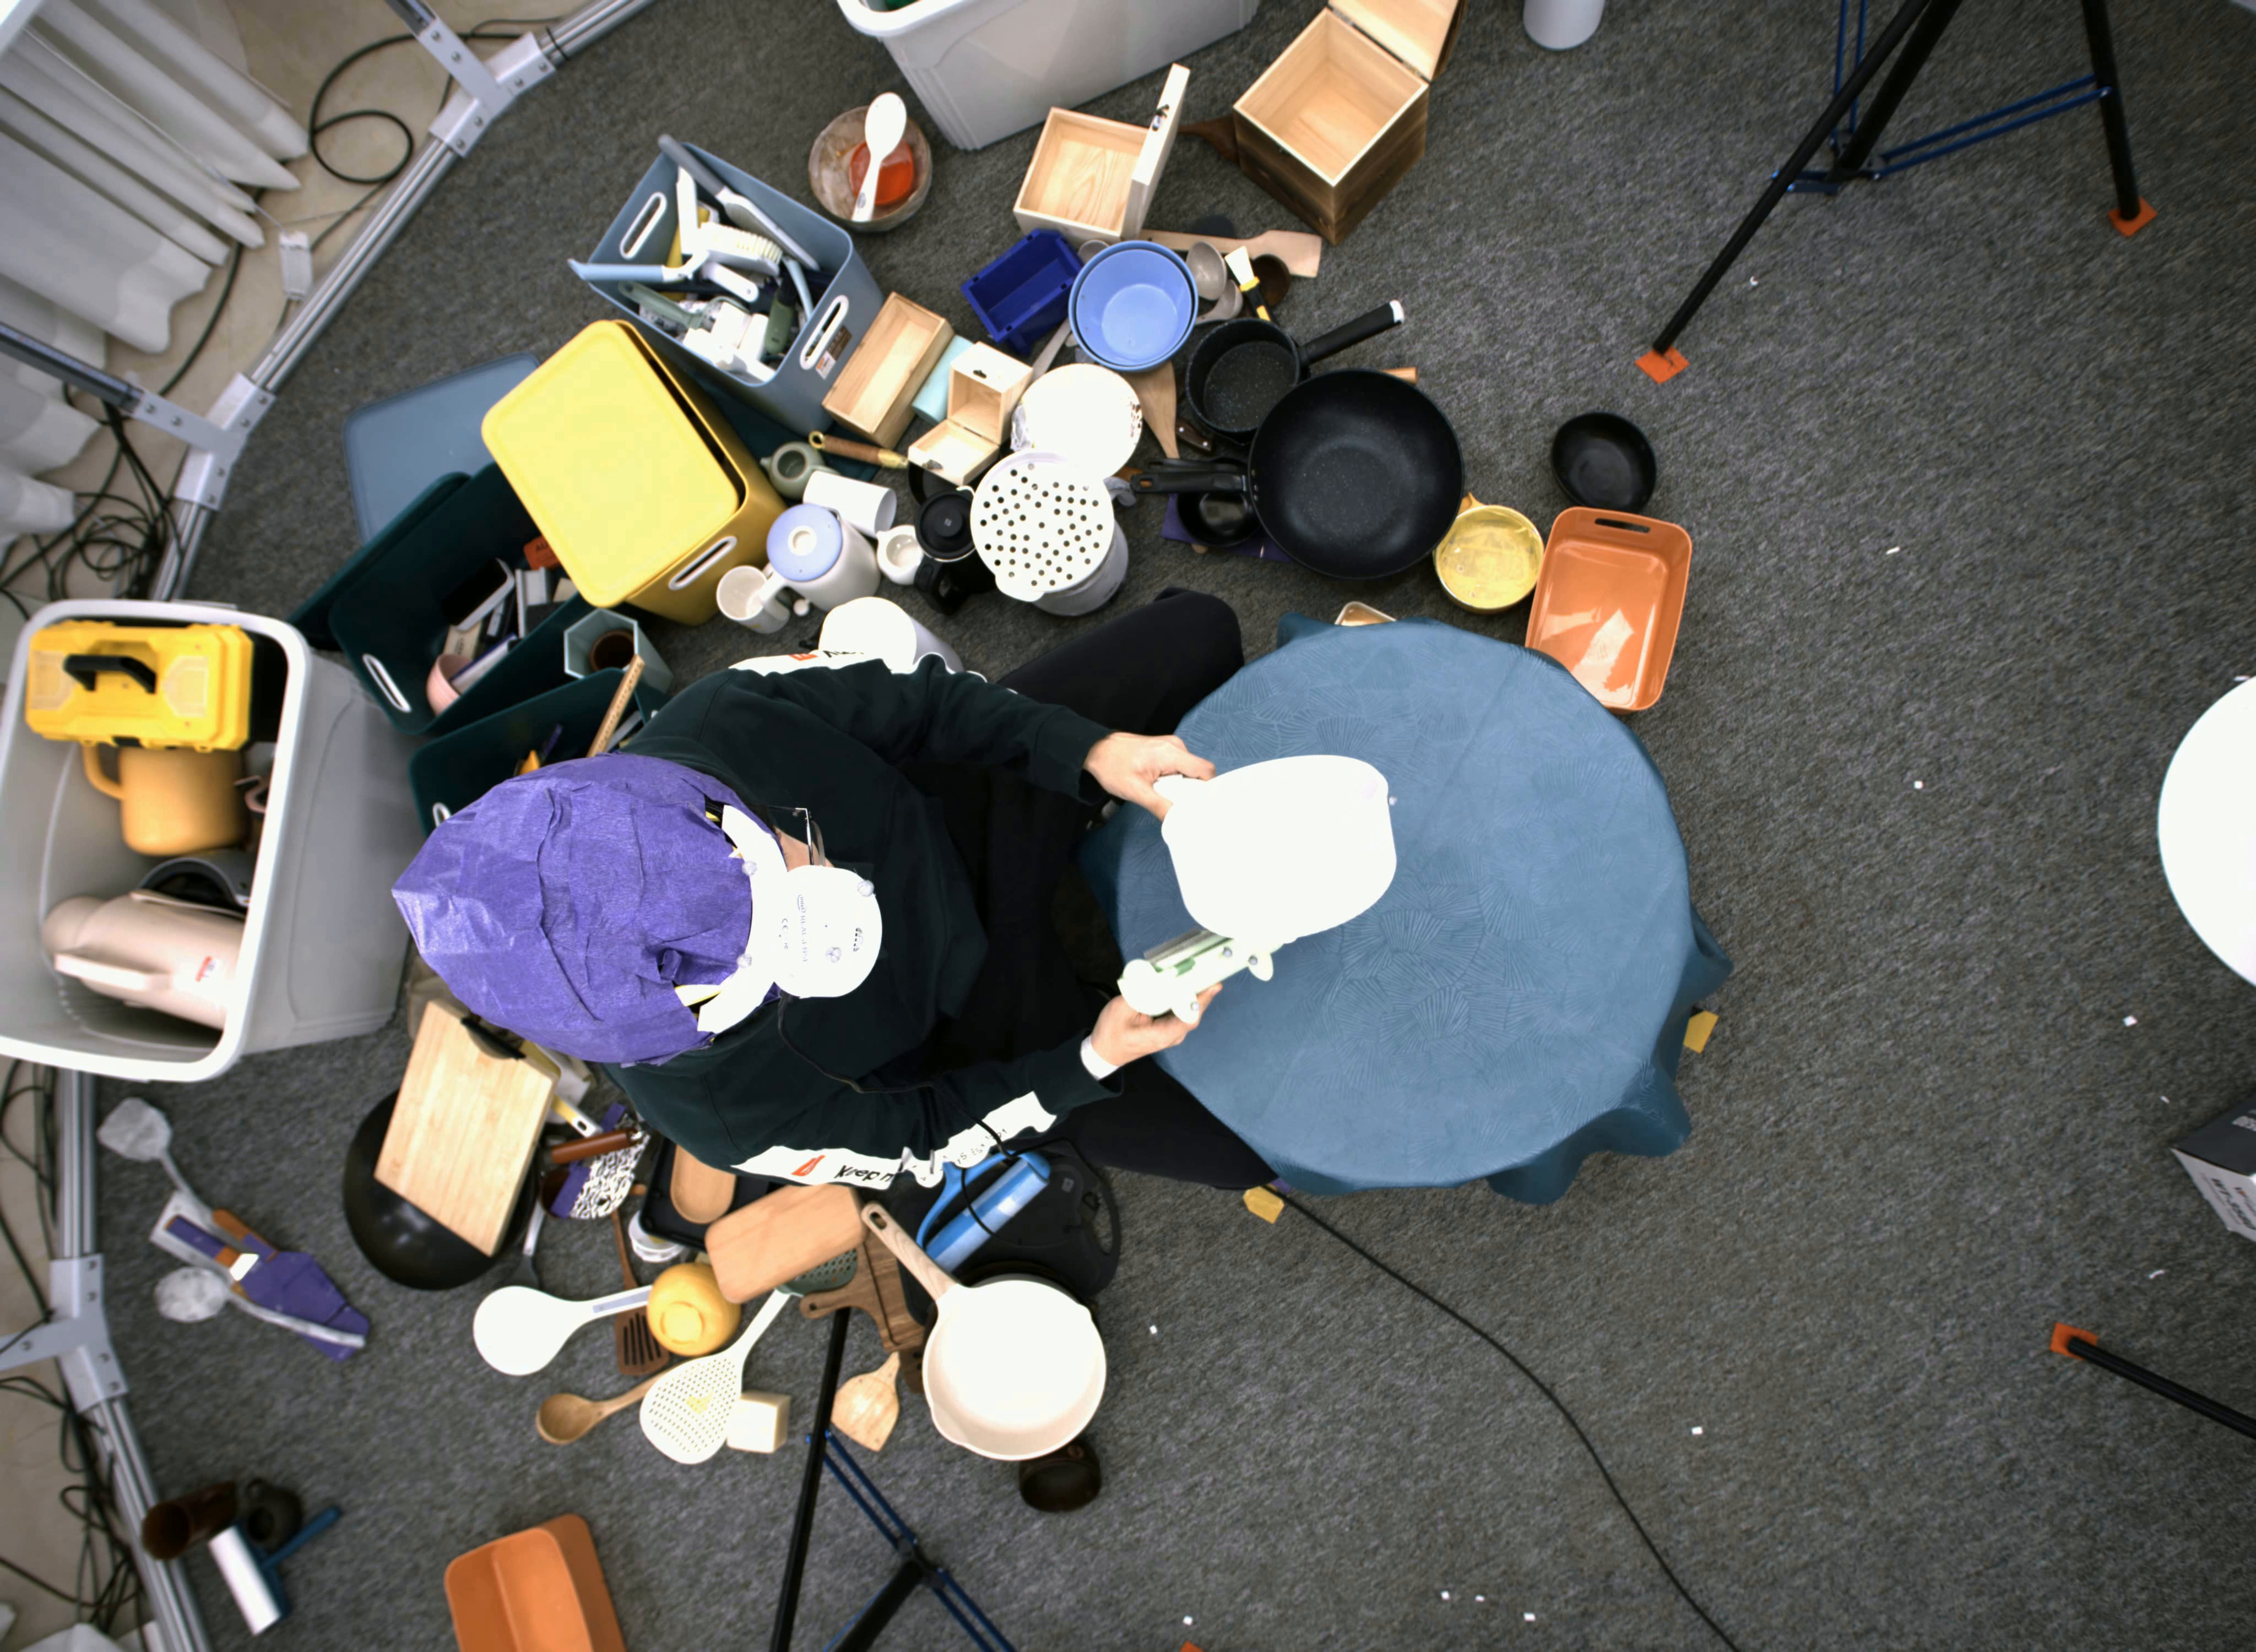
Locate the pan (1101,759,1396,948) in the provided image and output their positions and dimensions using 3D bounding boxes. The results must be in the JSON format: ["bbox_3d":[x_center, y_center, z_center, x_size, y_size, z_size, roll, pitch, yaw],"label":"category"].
[{"bbox_3d":[0.094,0.013,1.291,0.198,0.354,0.103,-29,115,-27],"label":"pan"}]

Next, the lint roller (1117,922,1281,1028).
[{"bbox_3d":[0.056,0.161,1.342,0.081,0.195,0.188,49,133,19],"label":"lint roller"}]
